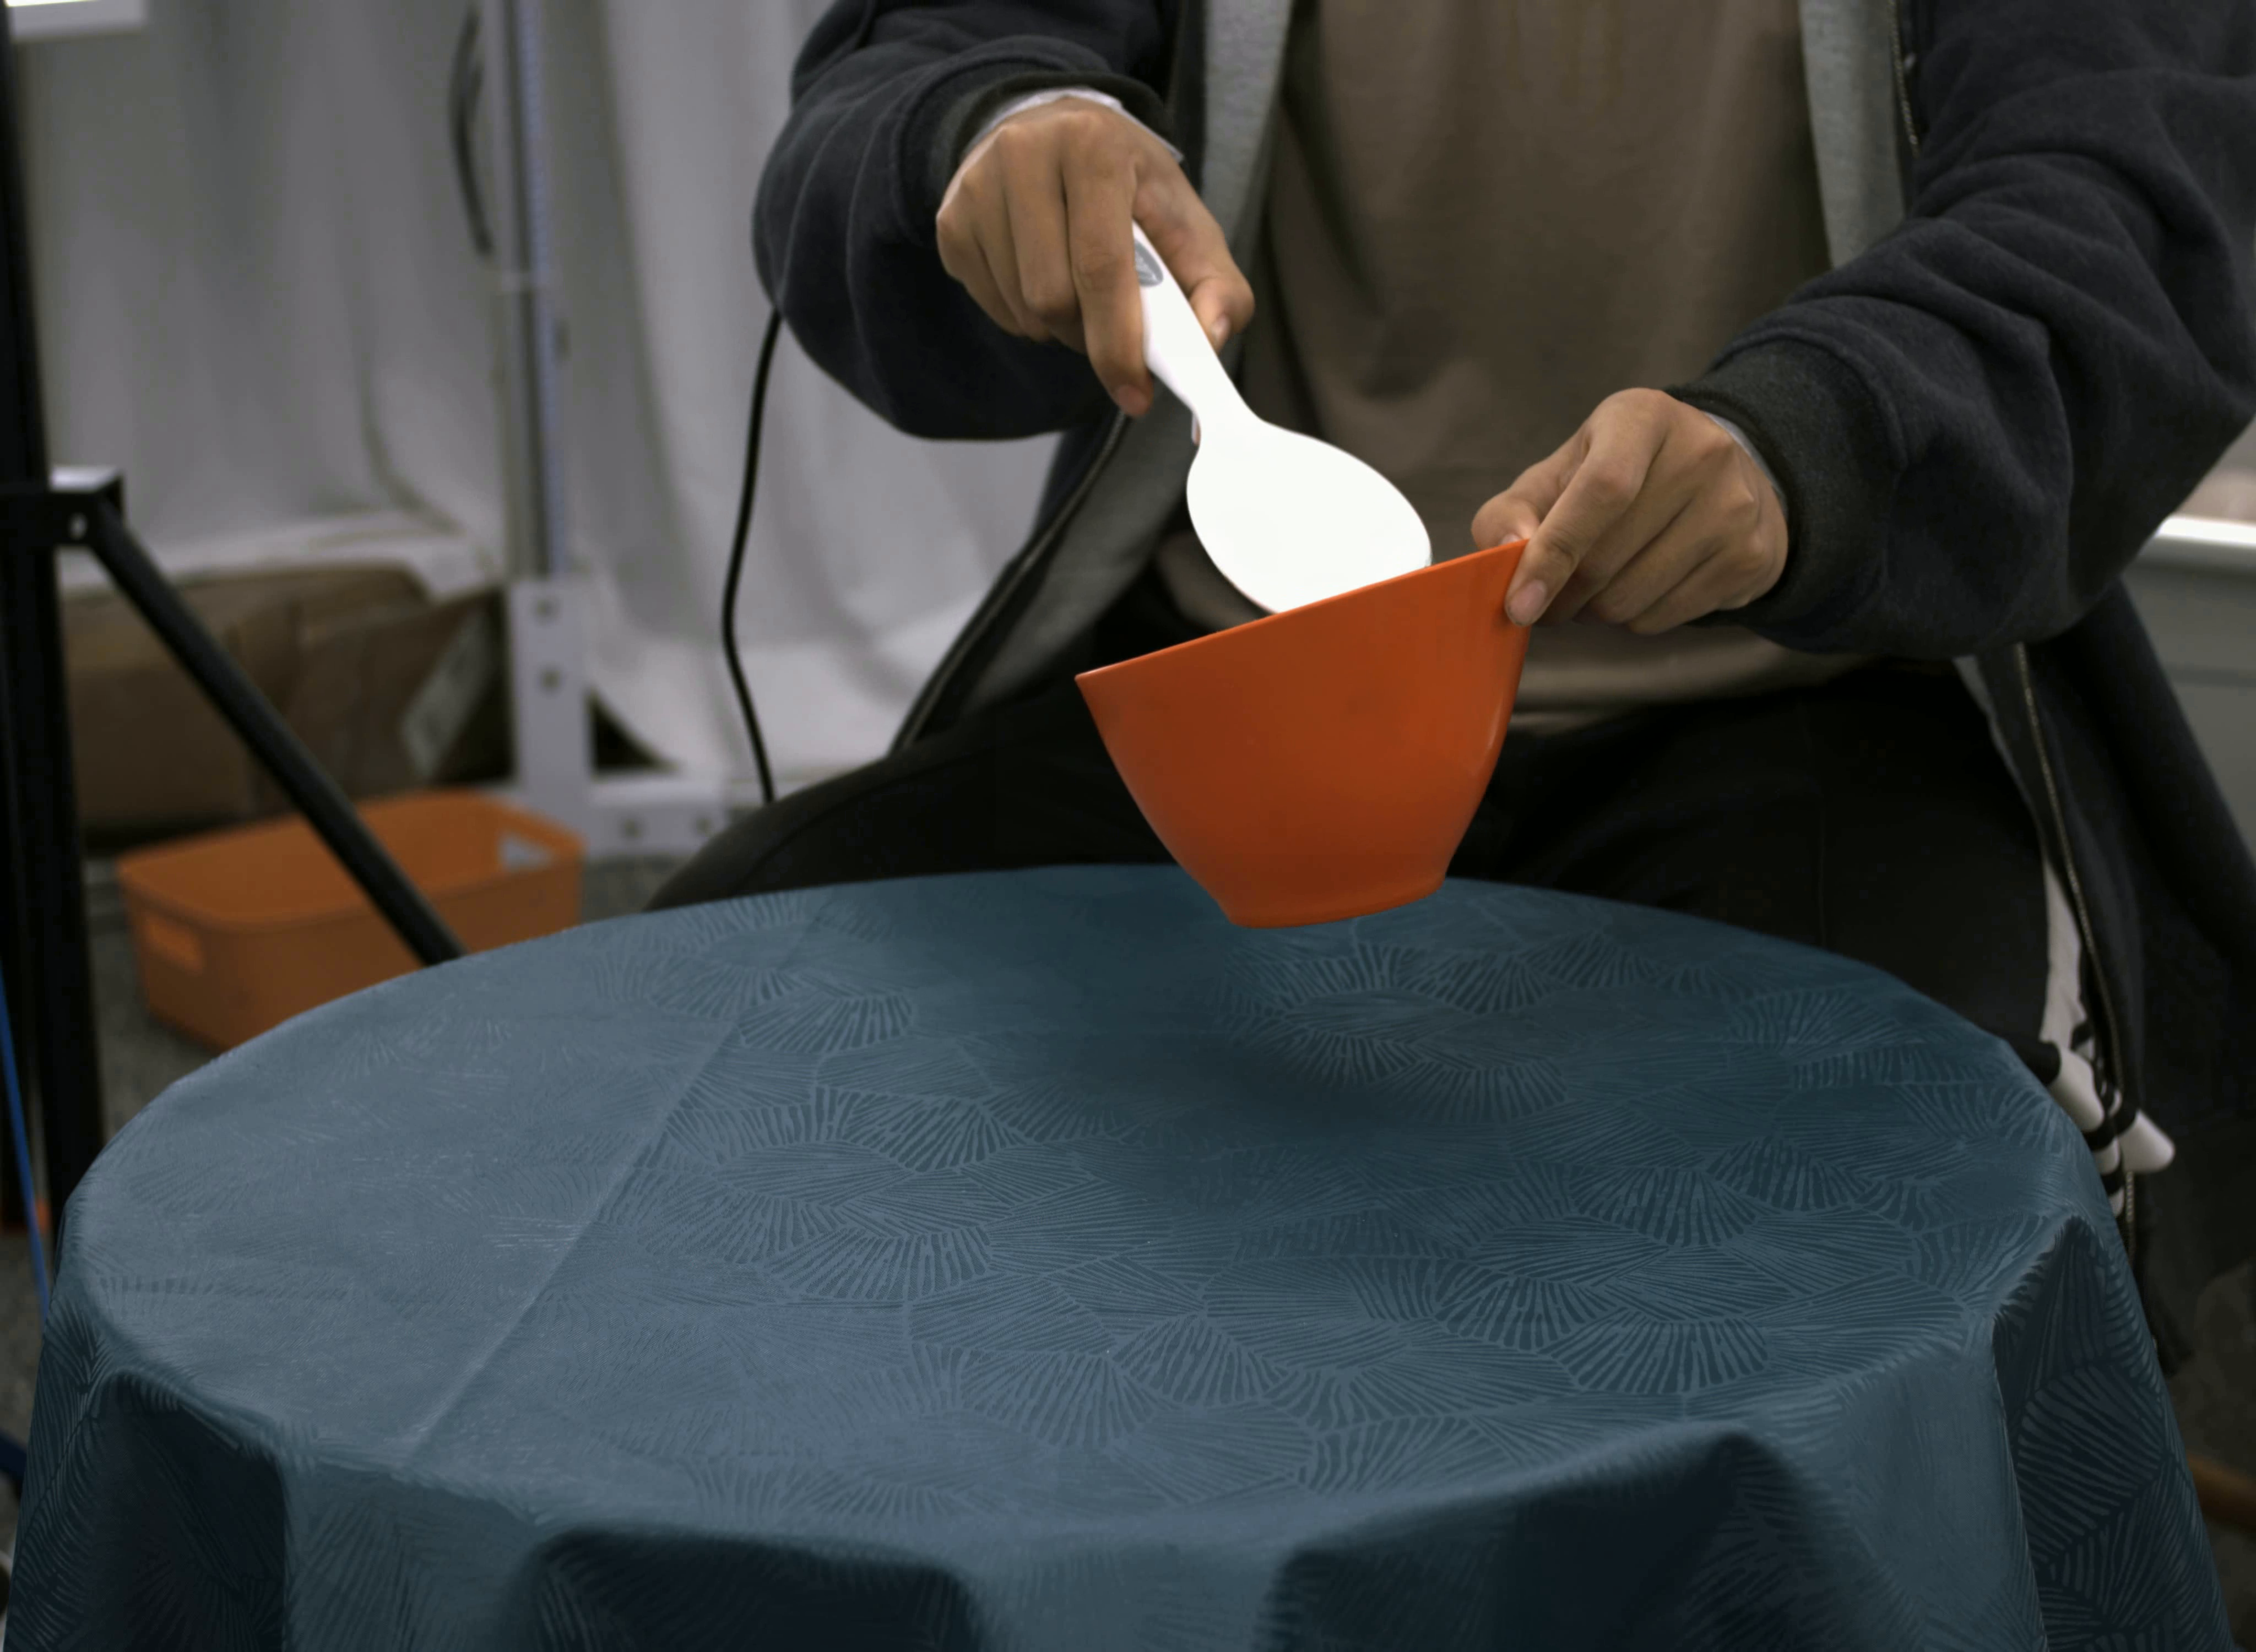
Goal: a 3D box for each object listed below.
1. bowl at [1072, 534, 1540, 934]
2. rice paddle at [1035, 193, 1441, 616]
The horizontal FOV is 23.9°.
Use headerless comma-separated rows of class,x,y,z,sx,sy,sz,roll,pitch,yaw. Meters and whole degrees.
bowl,0.061,-0.025,1.605,0.147,0.105,0.148,-12,8,0
rice paddle,0.031,-0.126,1.650,0.067,0.029,0.209,-18,47,-20
